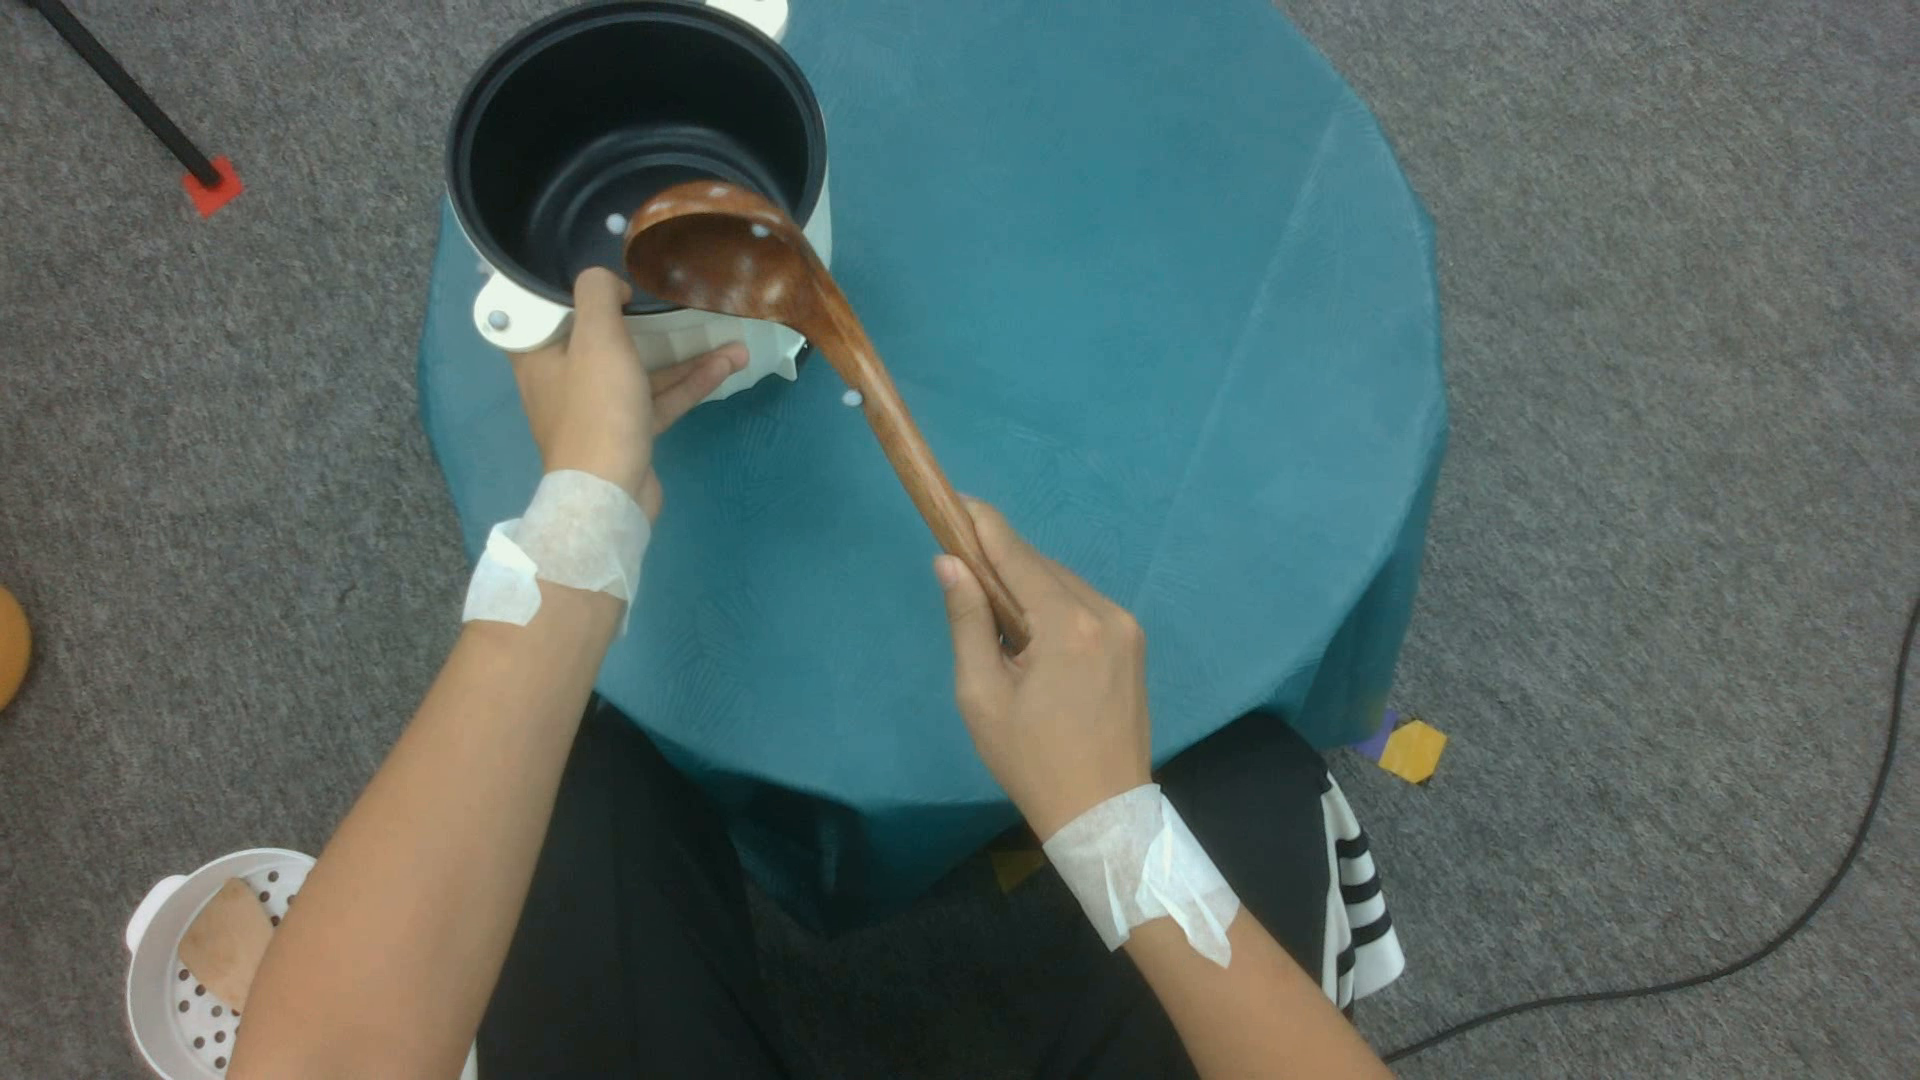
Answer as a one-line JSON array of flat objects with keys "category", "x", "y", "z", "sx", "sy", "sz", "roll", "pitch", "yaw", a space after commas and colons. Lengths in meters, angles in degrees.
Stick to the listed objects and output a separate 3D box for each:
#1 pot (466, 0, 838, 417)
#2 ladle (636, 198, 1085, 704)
[{"category": "pot", "x": -0.161, "y": -0.164, "z": 0.744, "sx": 0.190, "sy": 0.142, "sz": 0.241, "roll": 28, "pitch": 69, "yaw": 5}, {"category": "ladle", "x": -0.045, "y": -0.031, "z": 0.603, "sx": 0.077, "sy": 0.081, "sz": 0.274, "roll": -30, "pitch": 87, "yaw": -26}]
